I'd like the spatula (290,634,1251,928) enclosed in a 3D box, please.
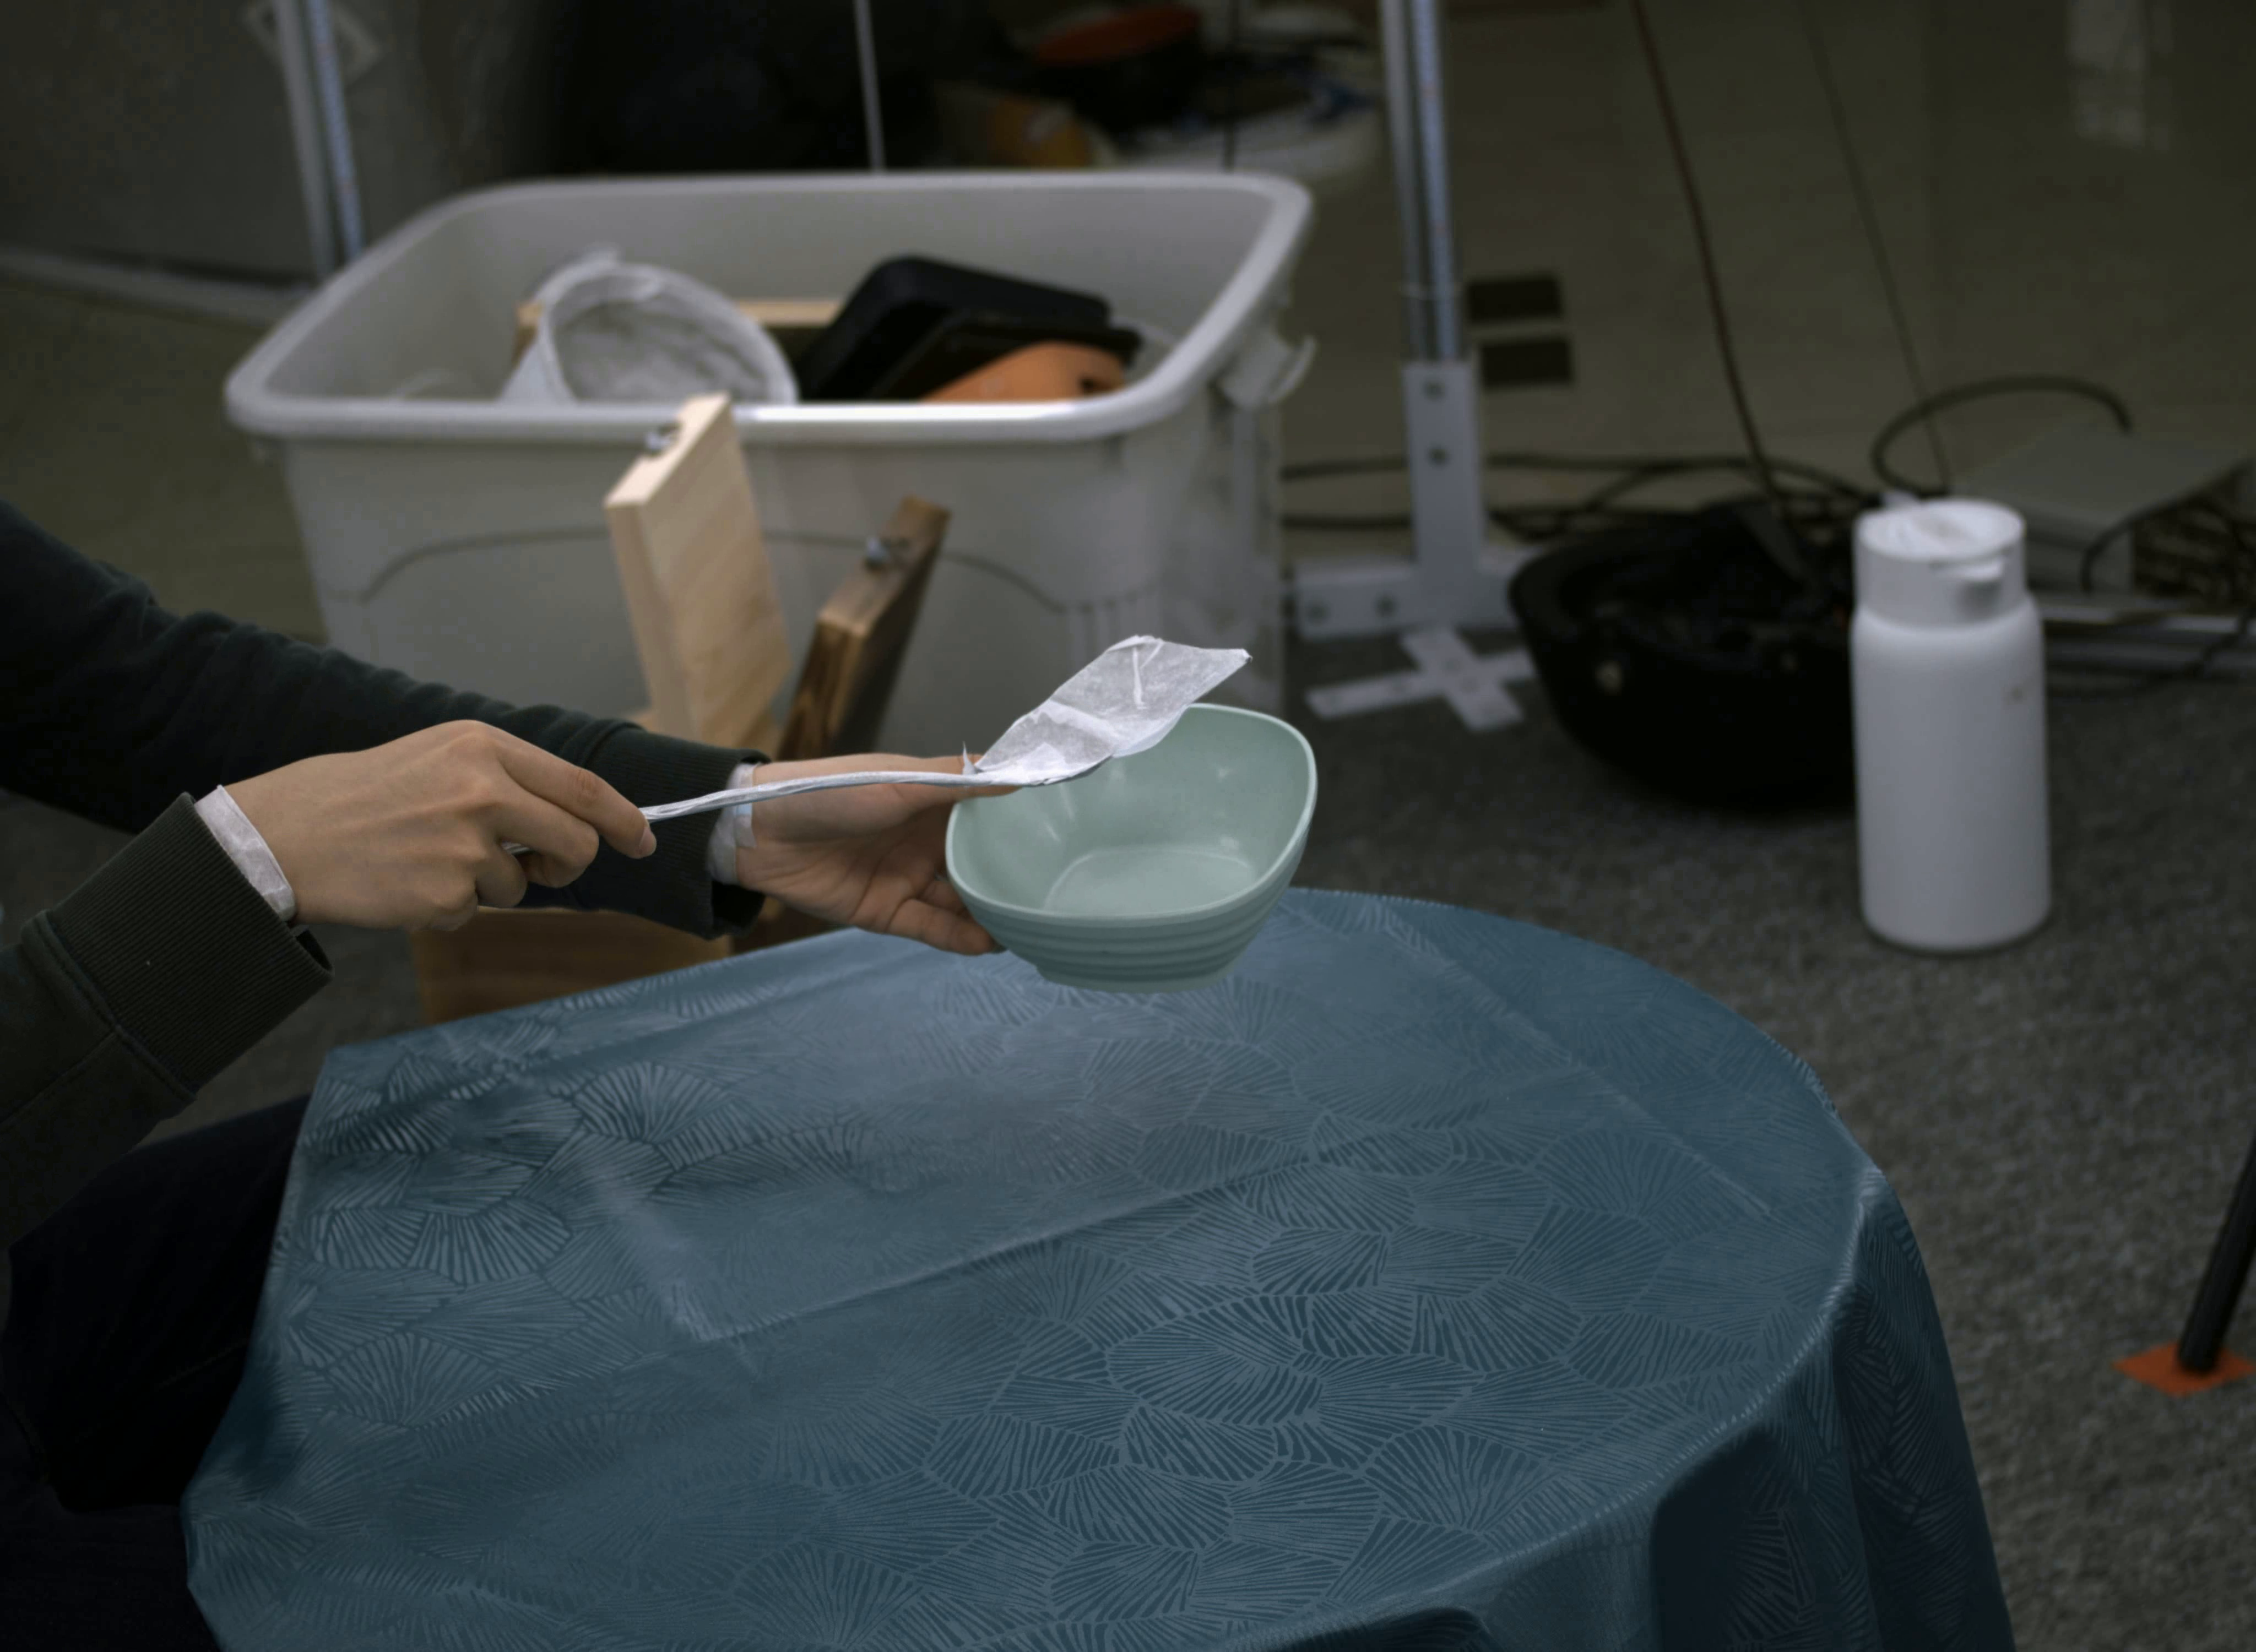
[{"bbox_3d":[-0.124,-0.017,2.000,0.363,0.045,0.098,-11,13,-27],"label":"spatula"}]

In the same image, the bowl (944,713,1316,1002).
[{"bbox_3d":[0.004,0.019,2.152,0.151,0.060,0.149,-6,36,4],"label":"bowl"}]
